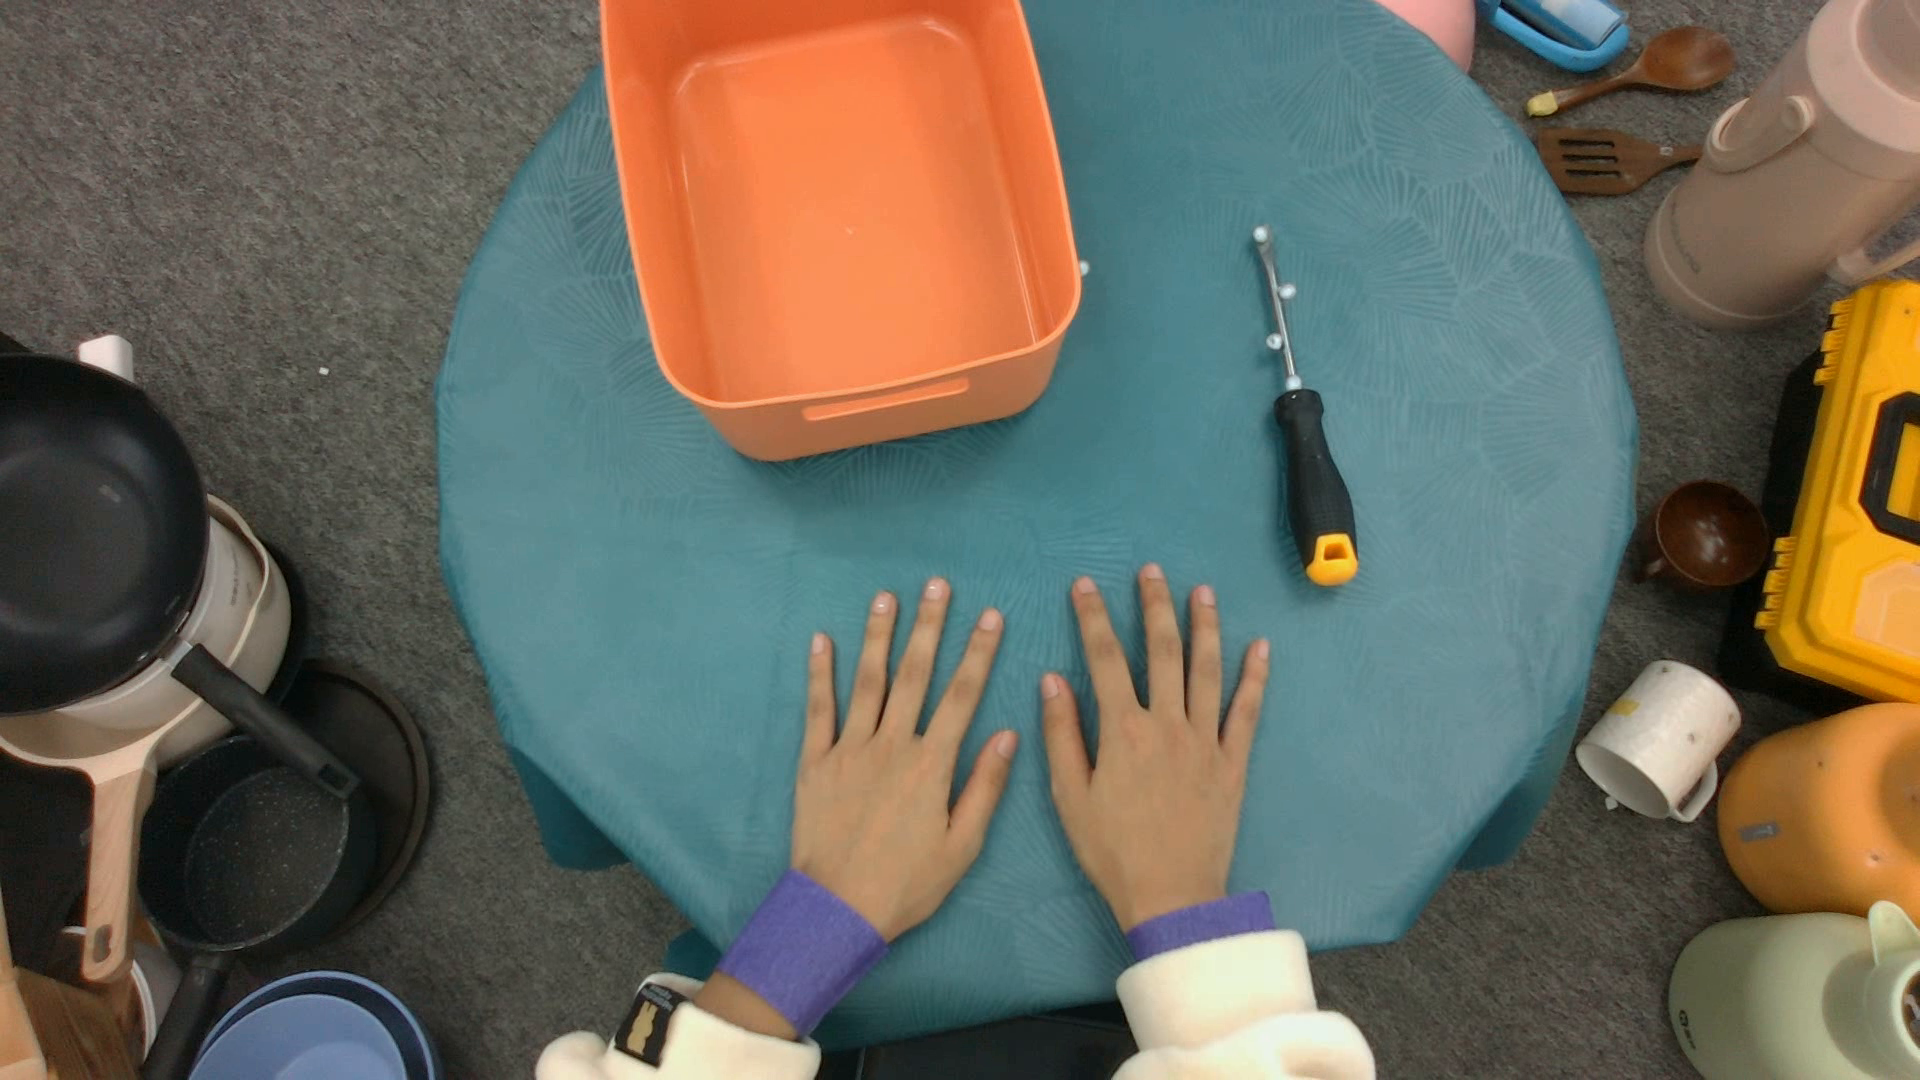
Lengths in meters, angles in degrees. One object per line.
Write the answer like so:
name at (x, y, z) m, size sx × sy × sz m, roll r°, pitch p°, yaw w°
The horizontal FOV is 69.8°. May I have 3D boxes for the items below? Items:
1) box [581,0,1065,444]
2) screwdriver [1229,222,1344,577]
box at (-0.069, -0.185, 0.677) m, size 0.199 × 0.102 × 0.274 m, roll -11°, pitch 72°, yaw -4°
screwdriver at (0.150, -0.073, 0.669) m, size 0.031 × 0.031 × 0.198 m, roll -9°, pitch 63°, yaw -2°
